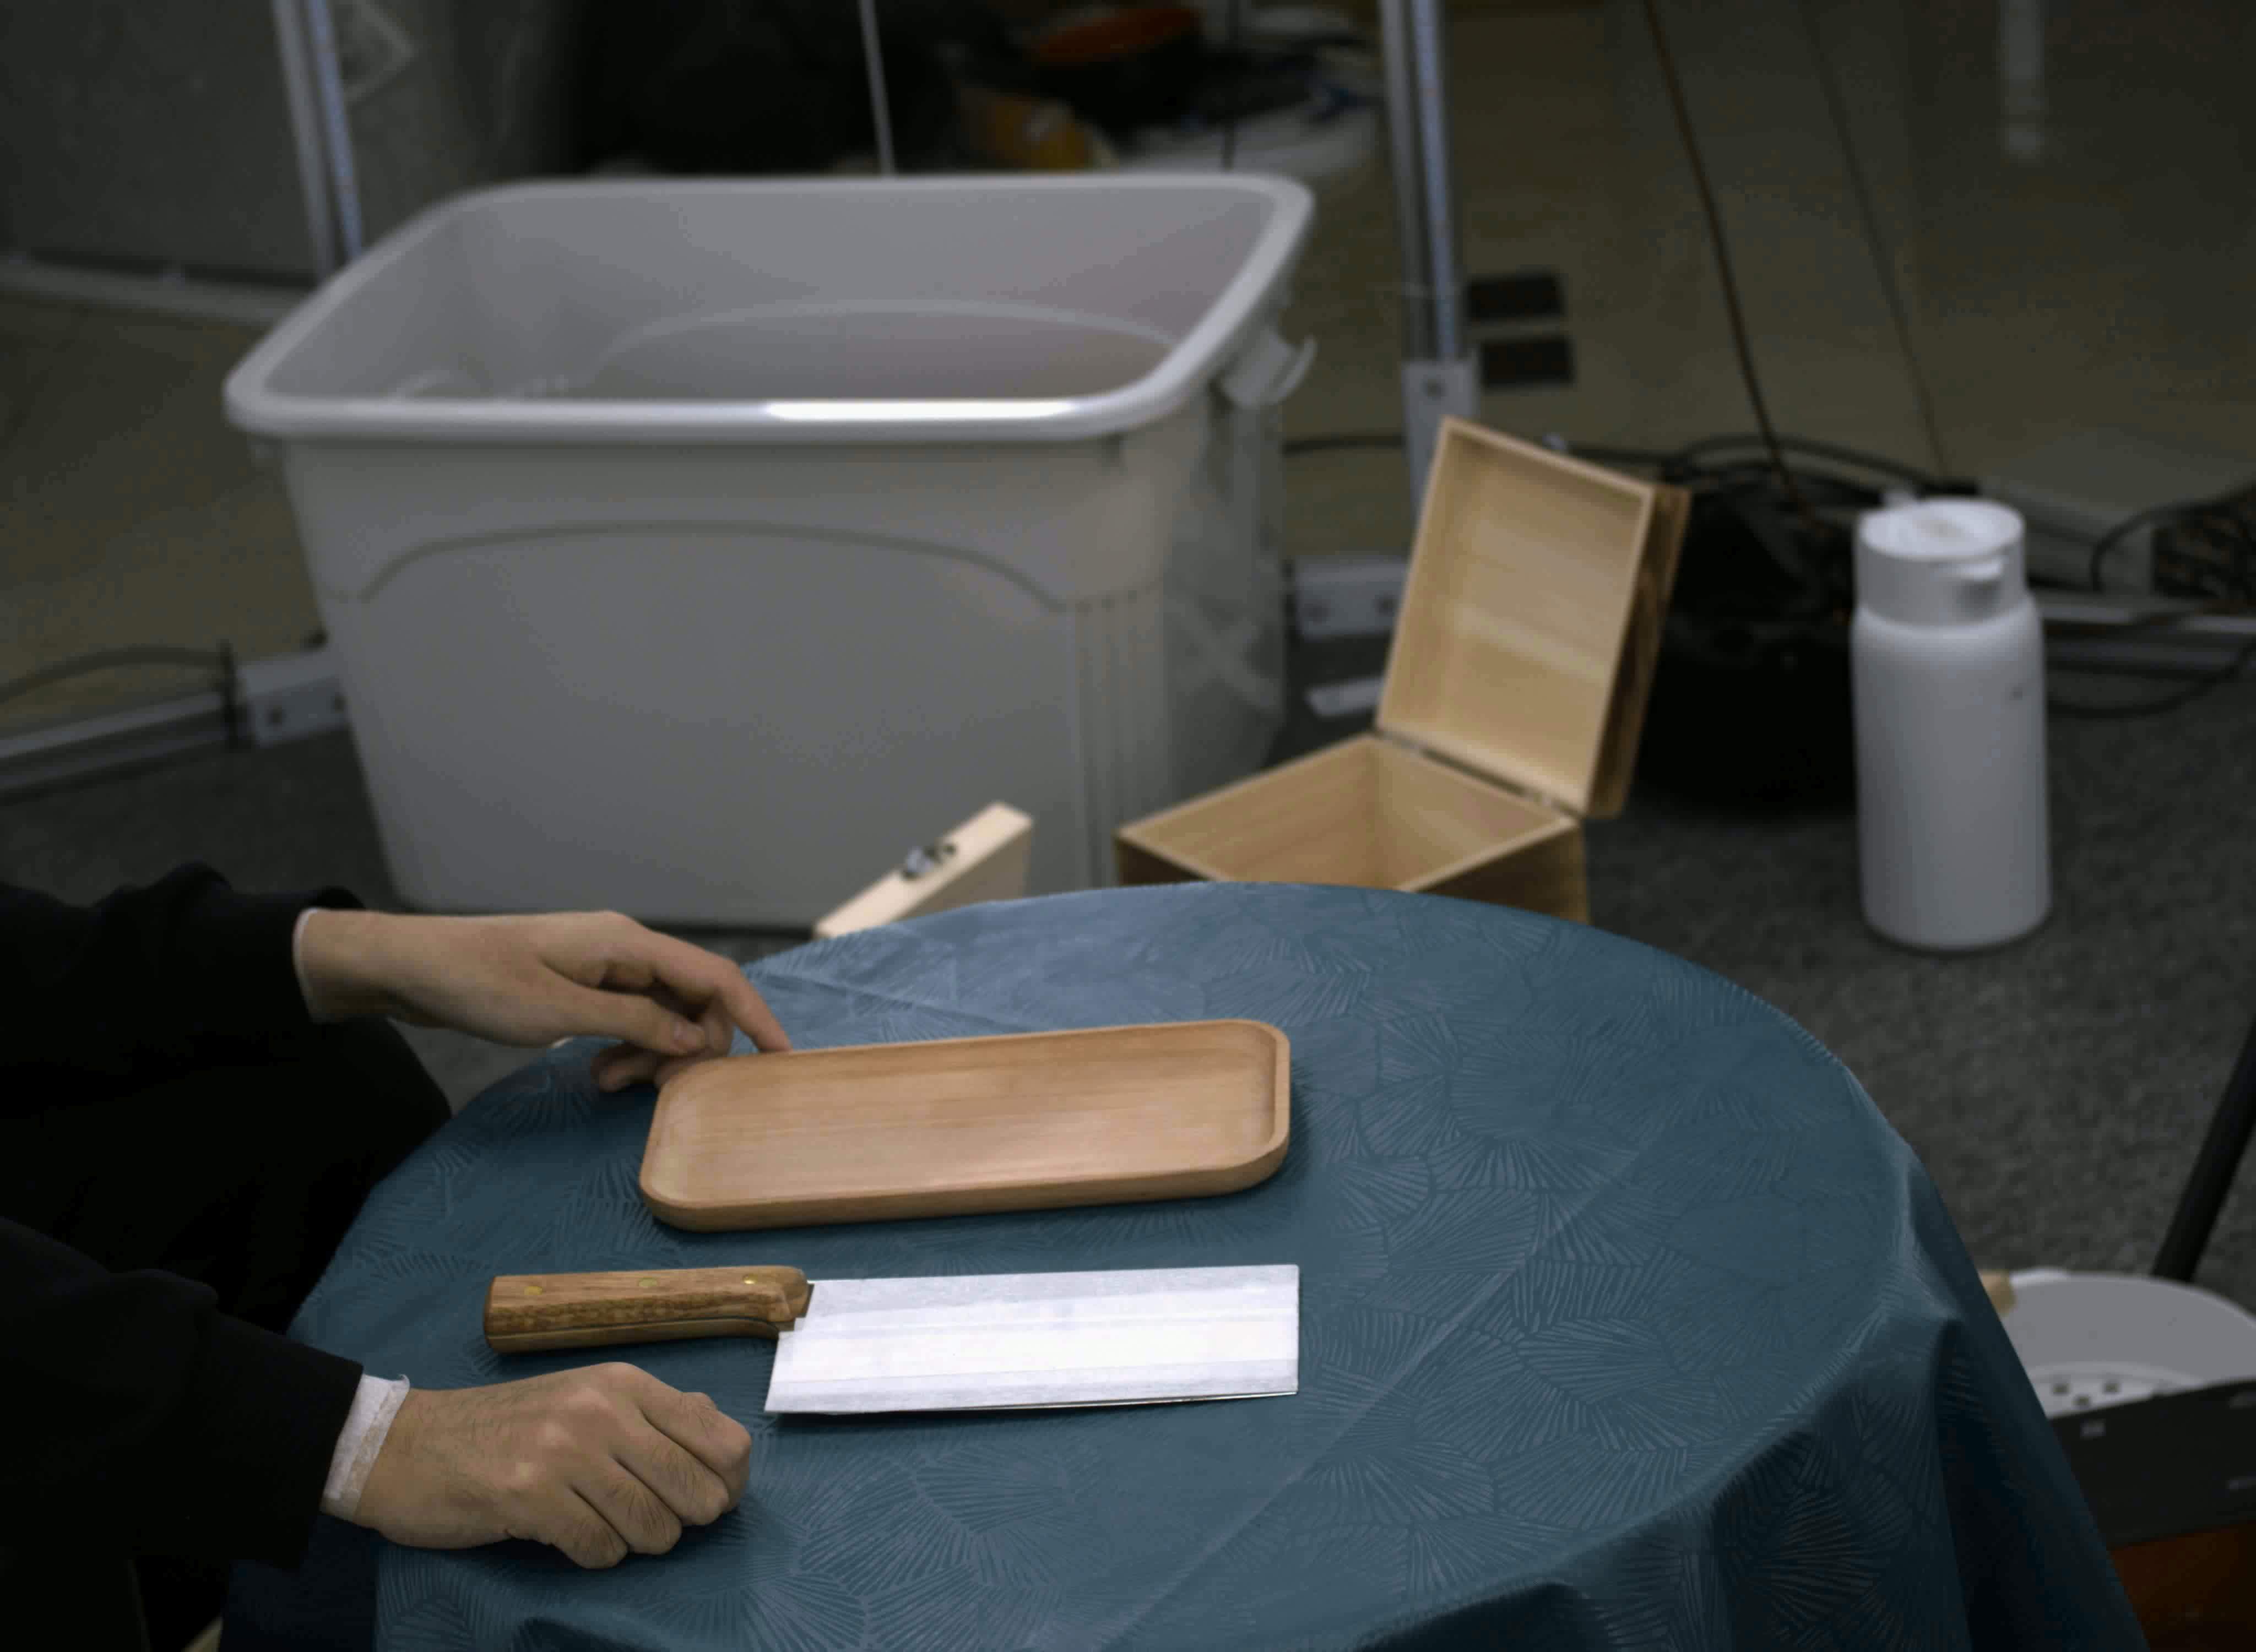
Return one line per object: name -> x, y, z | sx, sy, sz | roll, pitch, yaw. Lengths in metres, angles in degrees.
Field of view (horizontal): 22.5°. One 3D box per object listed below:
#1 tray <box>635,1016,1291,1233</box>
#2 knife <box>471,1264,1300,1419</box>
tray -> -0.062, 0.116, 2.193 | 0.250, 0.023, 0.129 | -5, 23, 6
knife -> -0.090, 0.186, 2.050 | 0.305, 0.021, 0.091 | -2, 27, 3
